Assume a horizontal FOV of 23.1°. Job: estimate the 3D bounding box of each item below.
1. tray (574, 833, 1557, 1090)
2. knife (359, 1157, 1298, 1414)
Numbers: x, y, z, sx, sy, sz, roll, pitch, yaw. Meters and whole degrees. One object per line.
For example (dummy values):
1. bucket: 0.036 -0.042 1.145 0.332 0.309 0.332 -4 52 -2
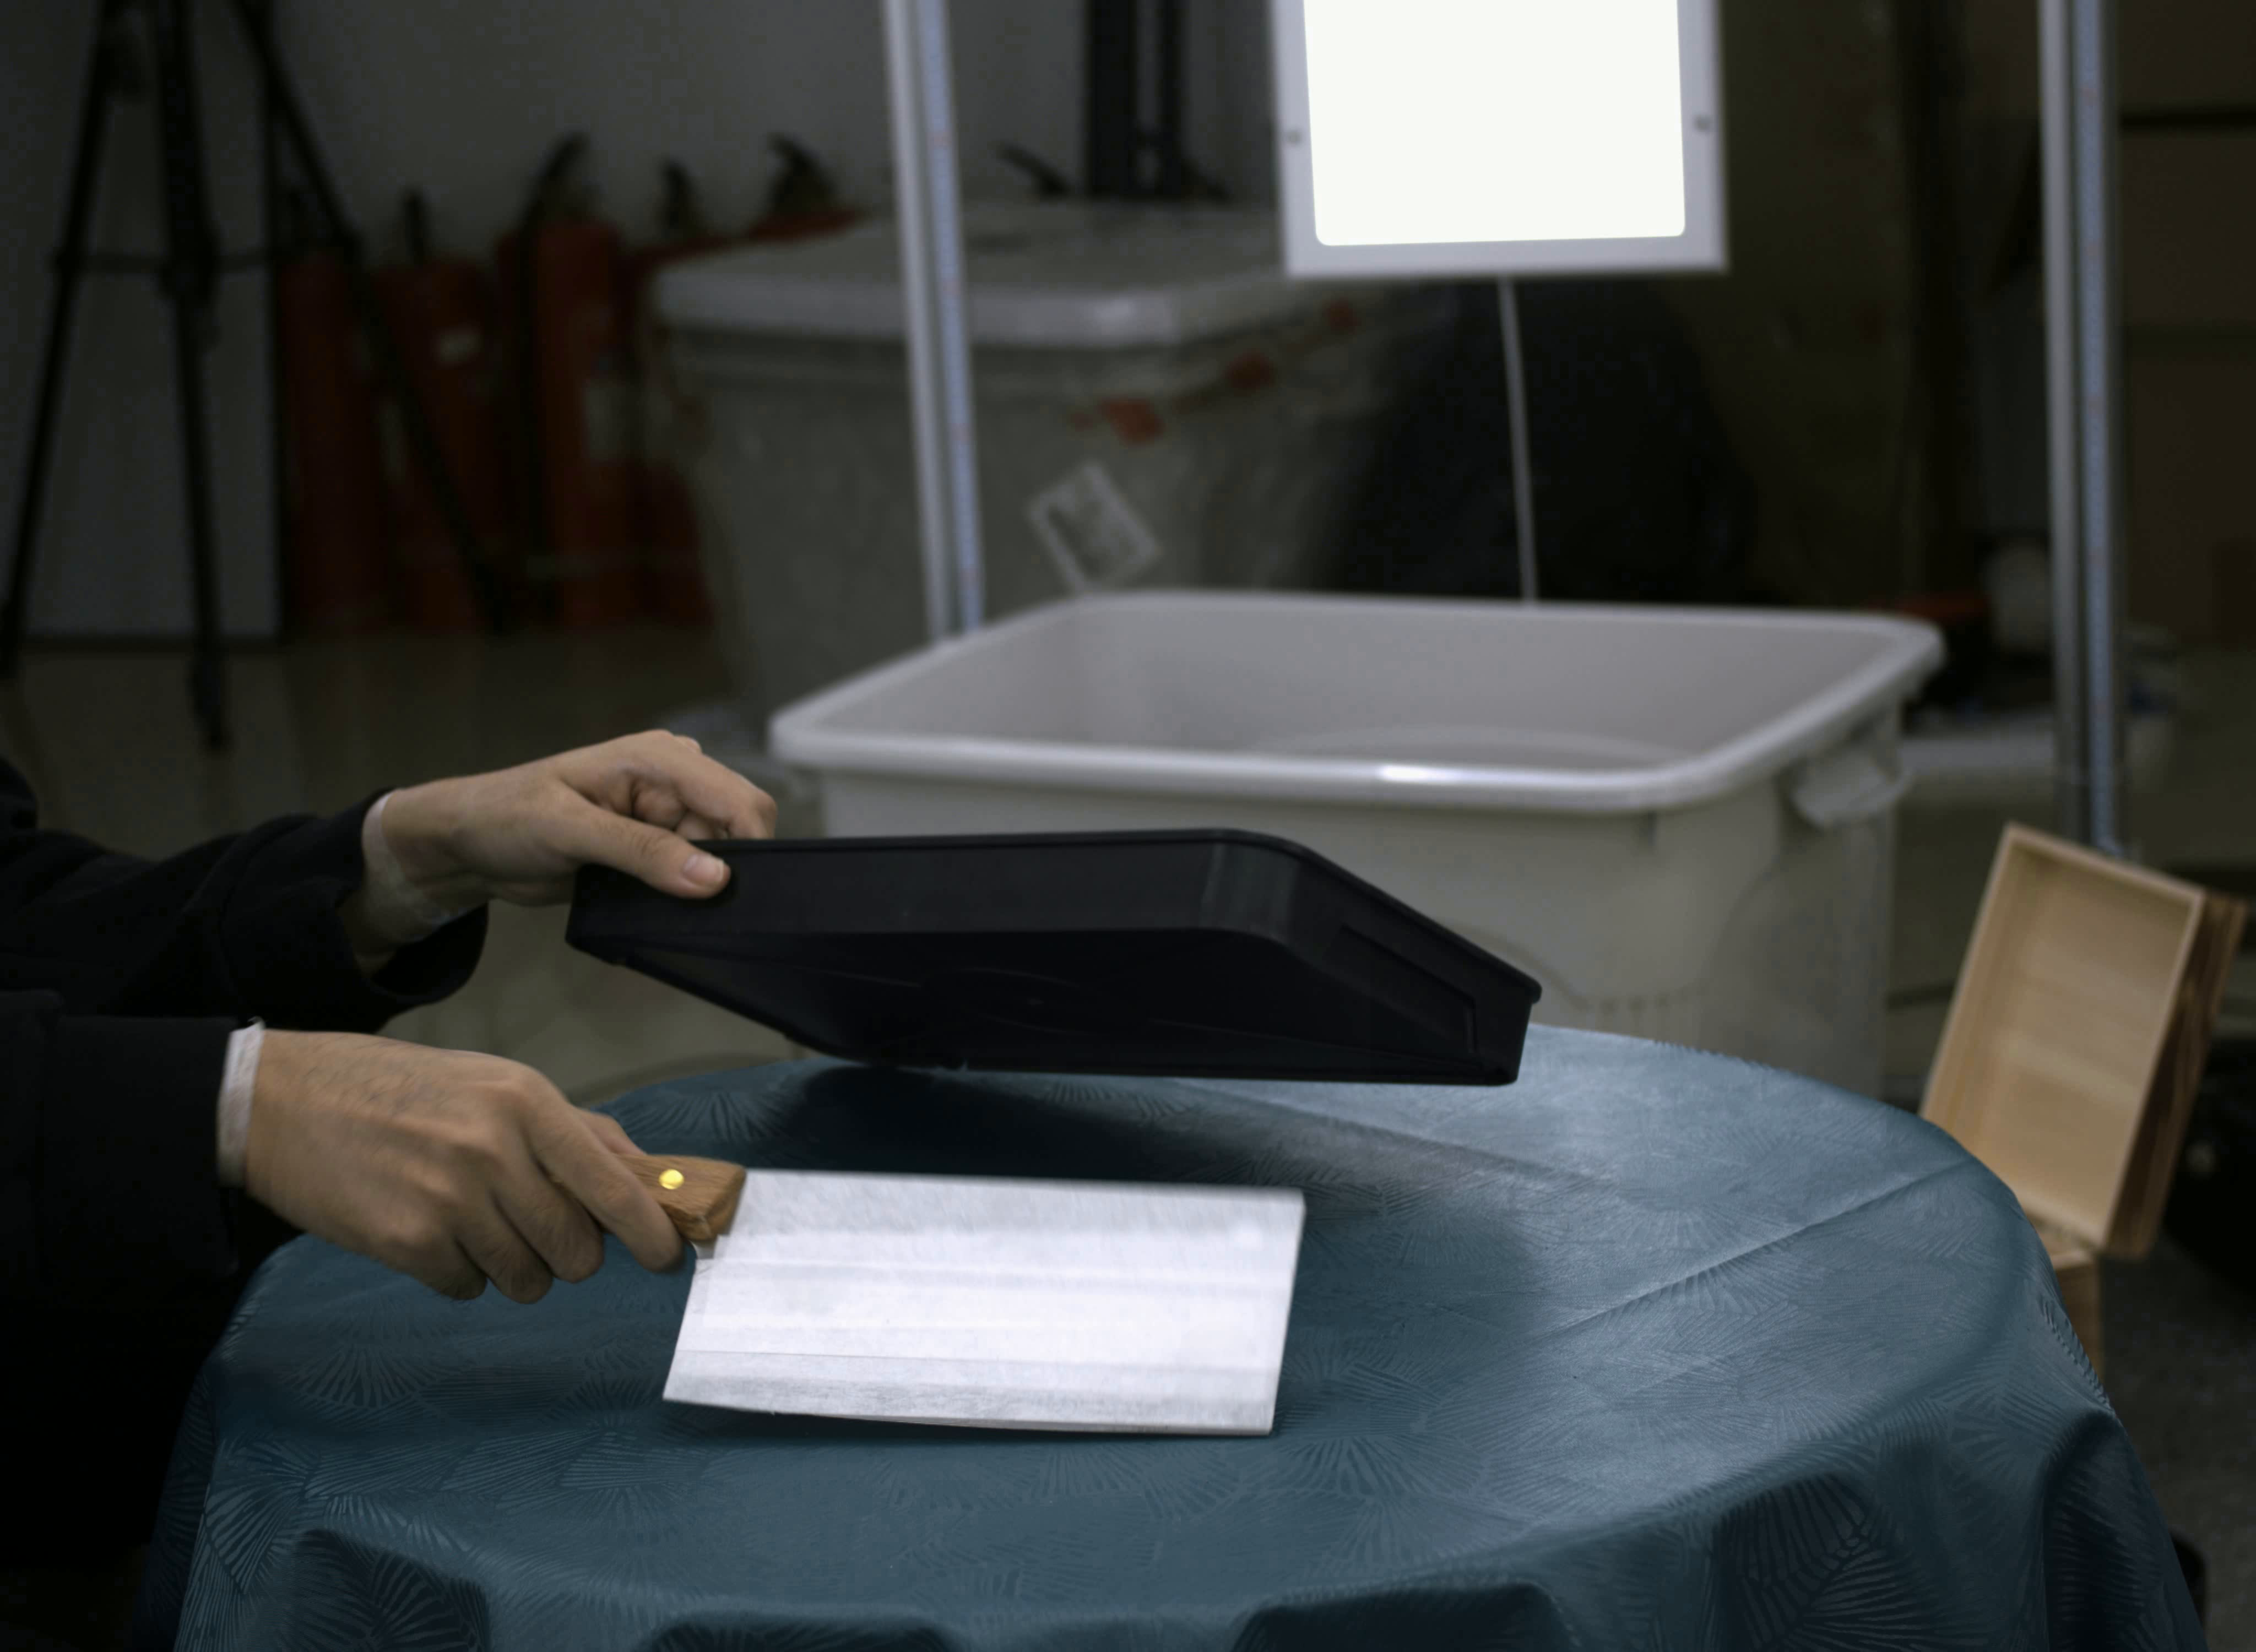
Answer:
1. tray: -0.025 0.048 1.916 0.325 0.037 0.180 -1 -19 37
2. knife: -0.099 0.144 1.711 0.308 0.021 0.092 3 44 12
